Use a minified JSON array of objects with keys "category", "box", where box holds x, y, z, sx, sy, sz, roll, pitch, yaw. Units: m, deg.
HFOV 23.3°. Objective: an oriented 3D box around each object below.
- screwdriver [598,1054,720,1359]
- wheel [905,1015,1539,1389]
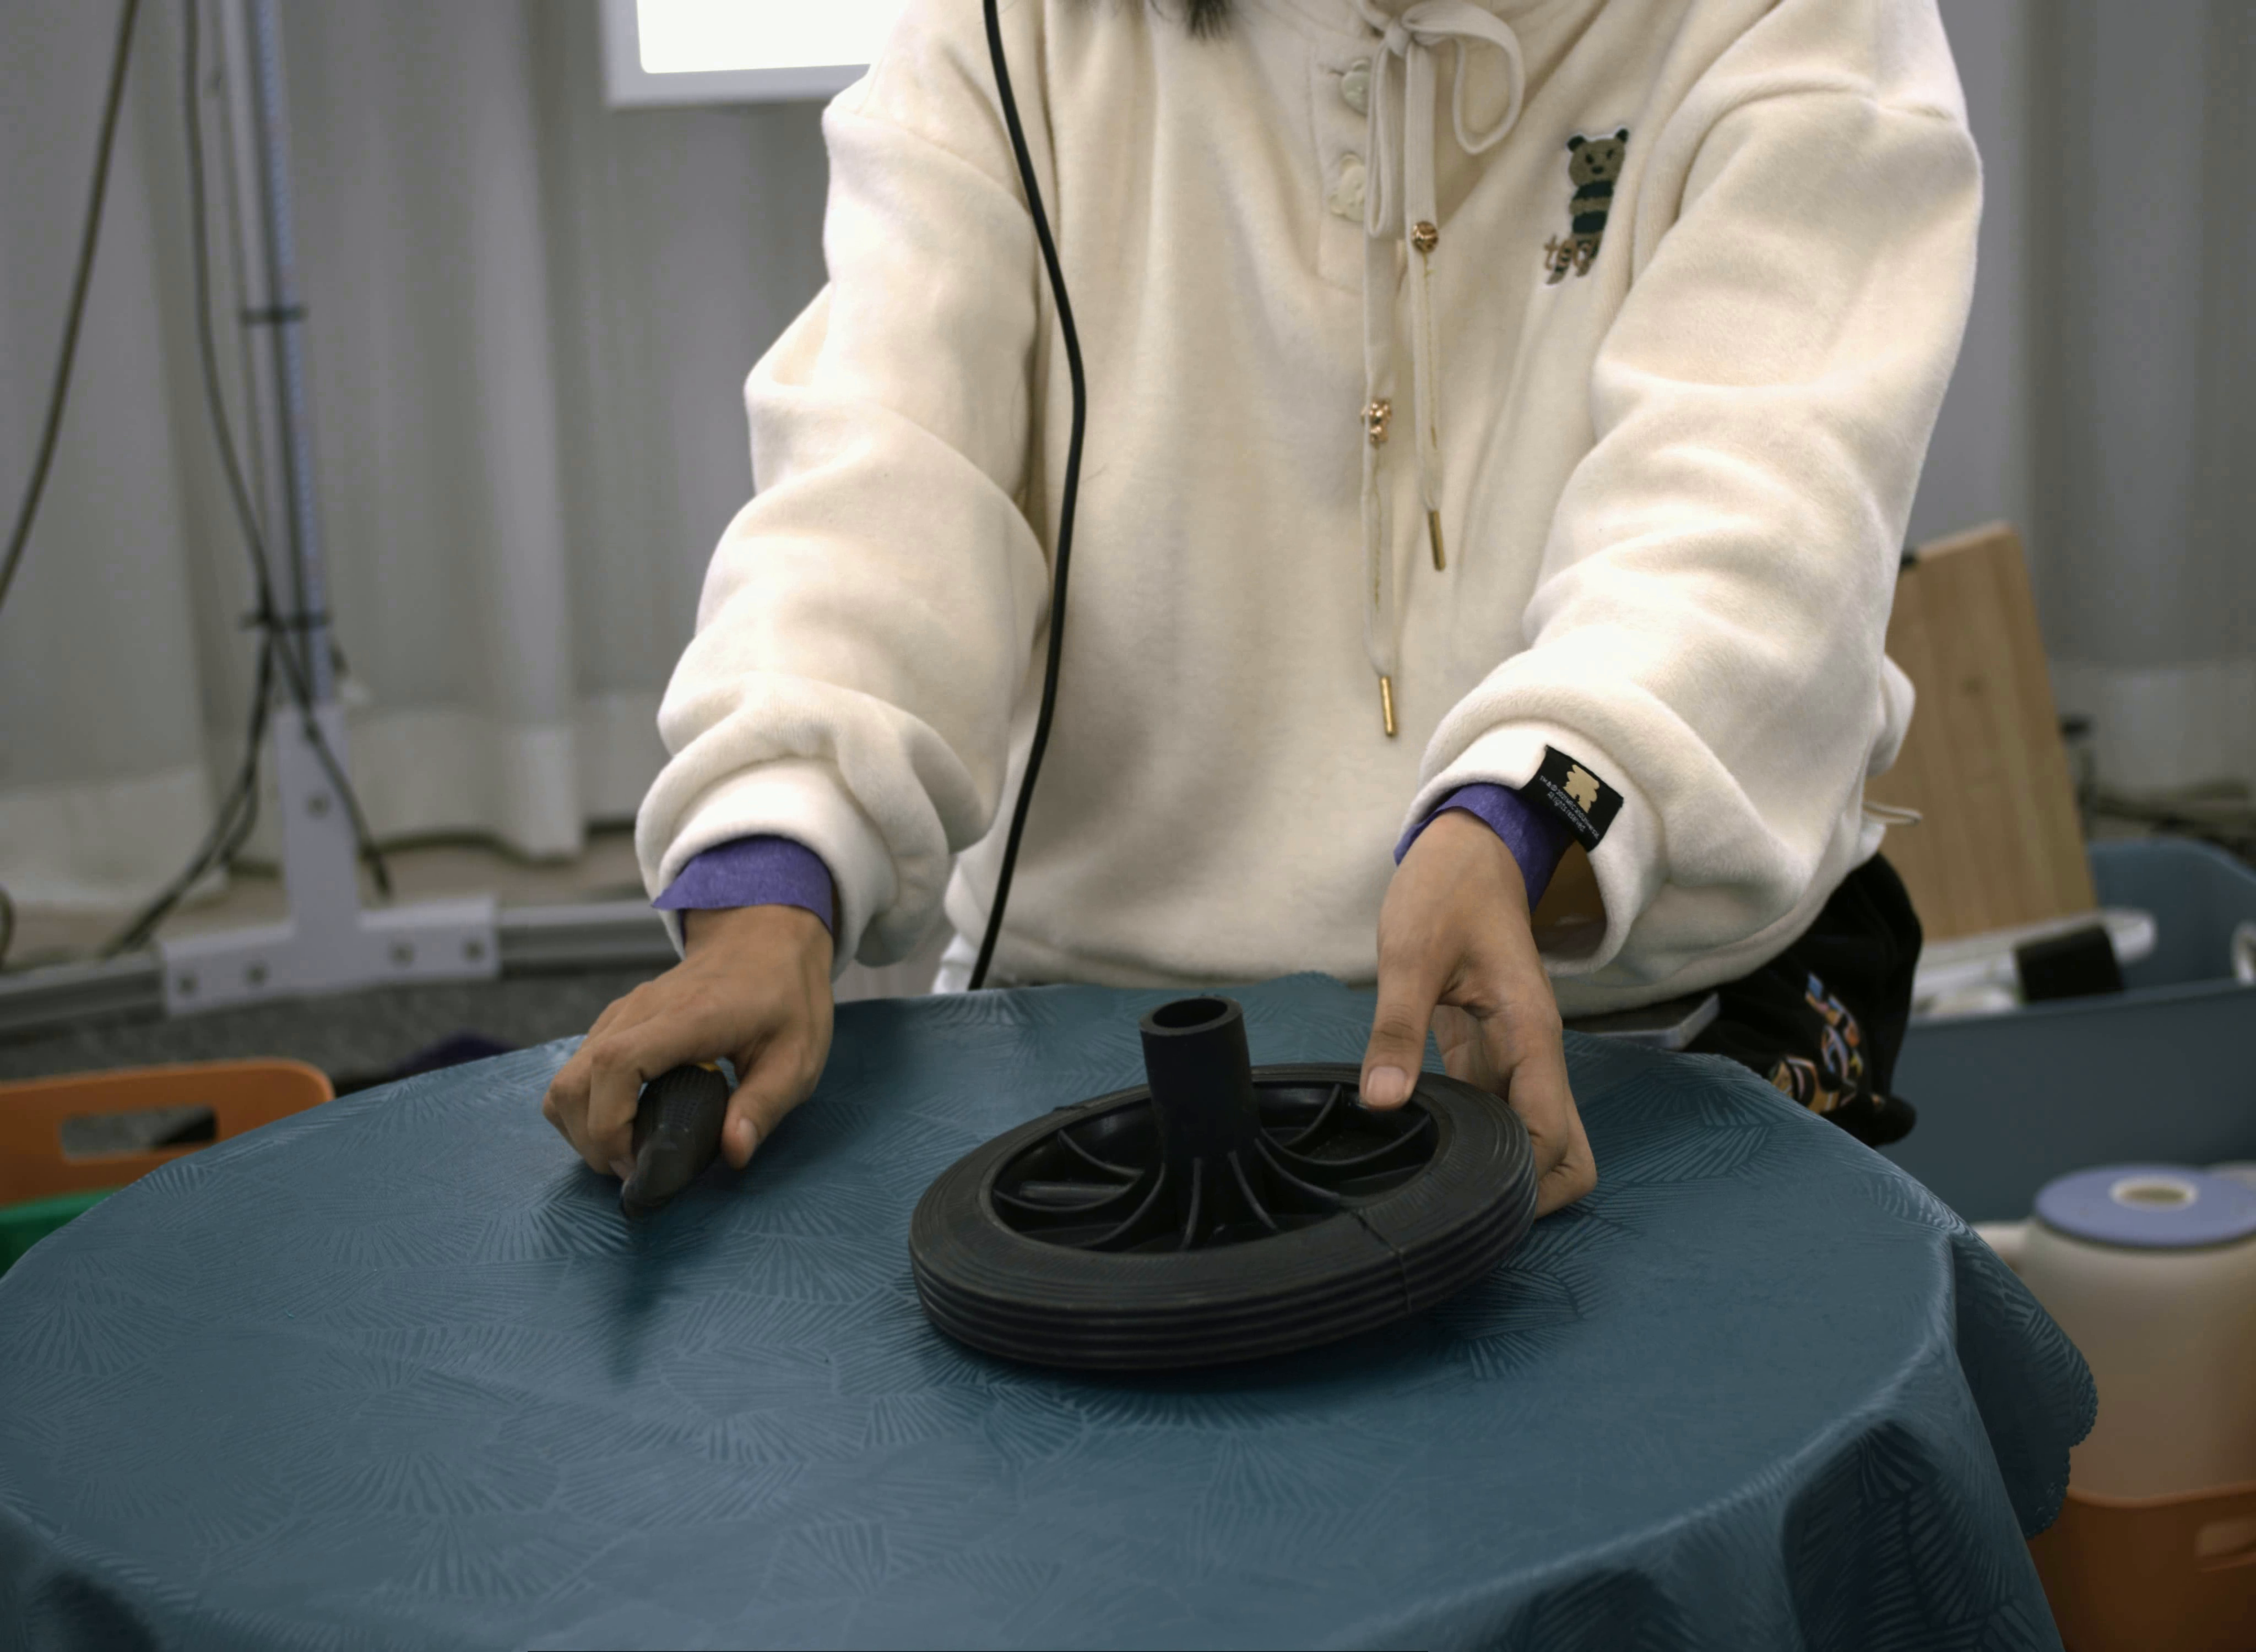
[{"category":"screwdriver","box":[-0.151,0.117,1.679,0.031,0.031,0.199,-1,20,6]},{"category":"wheel","box":[0.023,0.098,1.614,0.189,0.079,0.189,-10,17,6]}]
